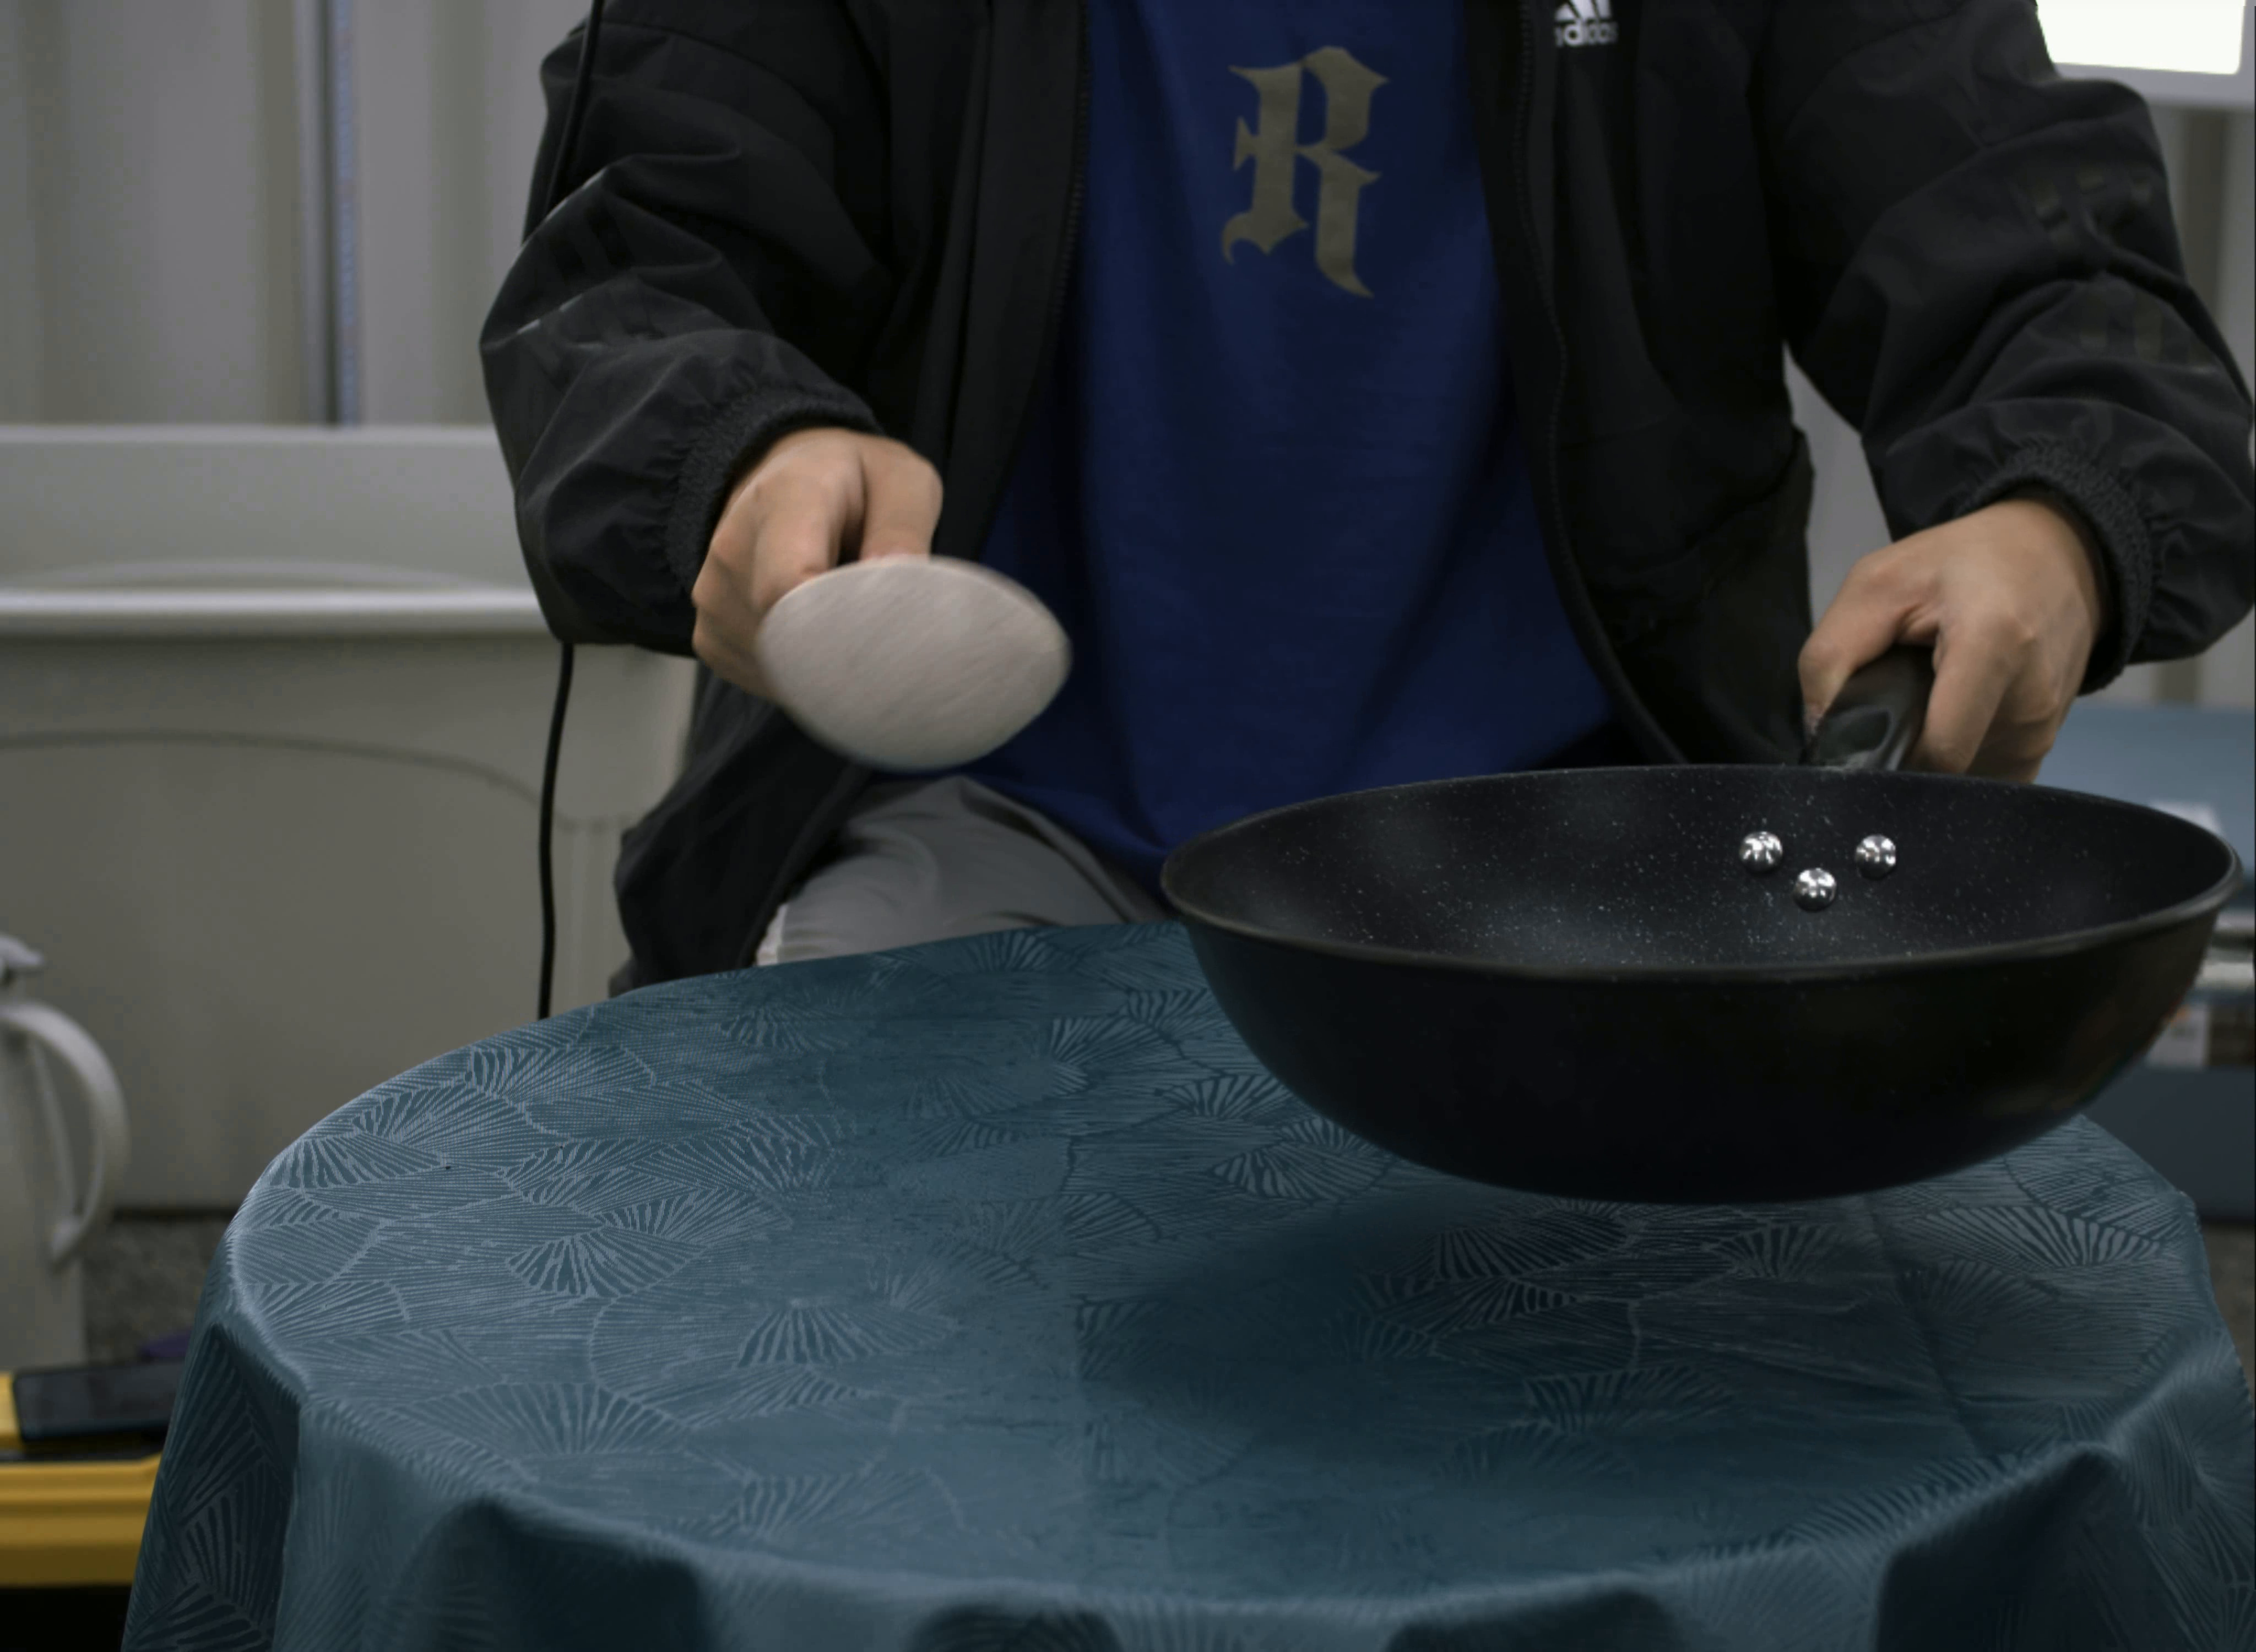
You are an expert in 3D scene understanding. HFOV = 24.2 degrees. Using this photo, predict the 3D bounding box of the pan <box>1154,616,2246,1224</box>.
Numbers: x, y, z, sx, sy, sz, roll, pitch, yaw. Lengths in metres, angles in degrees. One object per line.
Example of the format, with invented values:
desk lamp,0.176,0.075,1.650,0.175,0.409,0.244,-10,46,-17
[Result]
pan,0.192,0.026,1.585,0.307,0.112,0.478,4,12,20

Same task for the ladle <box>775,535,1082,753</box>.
ladle,-0.068,-0.080,1.622,0.089,0.070,0.273,6,14,-8
